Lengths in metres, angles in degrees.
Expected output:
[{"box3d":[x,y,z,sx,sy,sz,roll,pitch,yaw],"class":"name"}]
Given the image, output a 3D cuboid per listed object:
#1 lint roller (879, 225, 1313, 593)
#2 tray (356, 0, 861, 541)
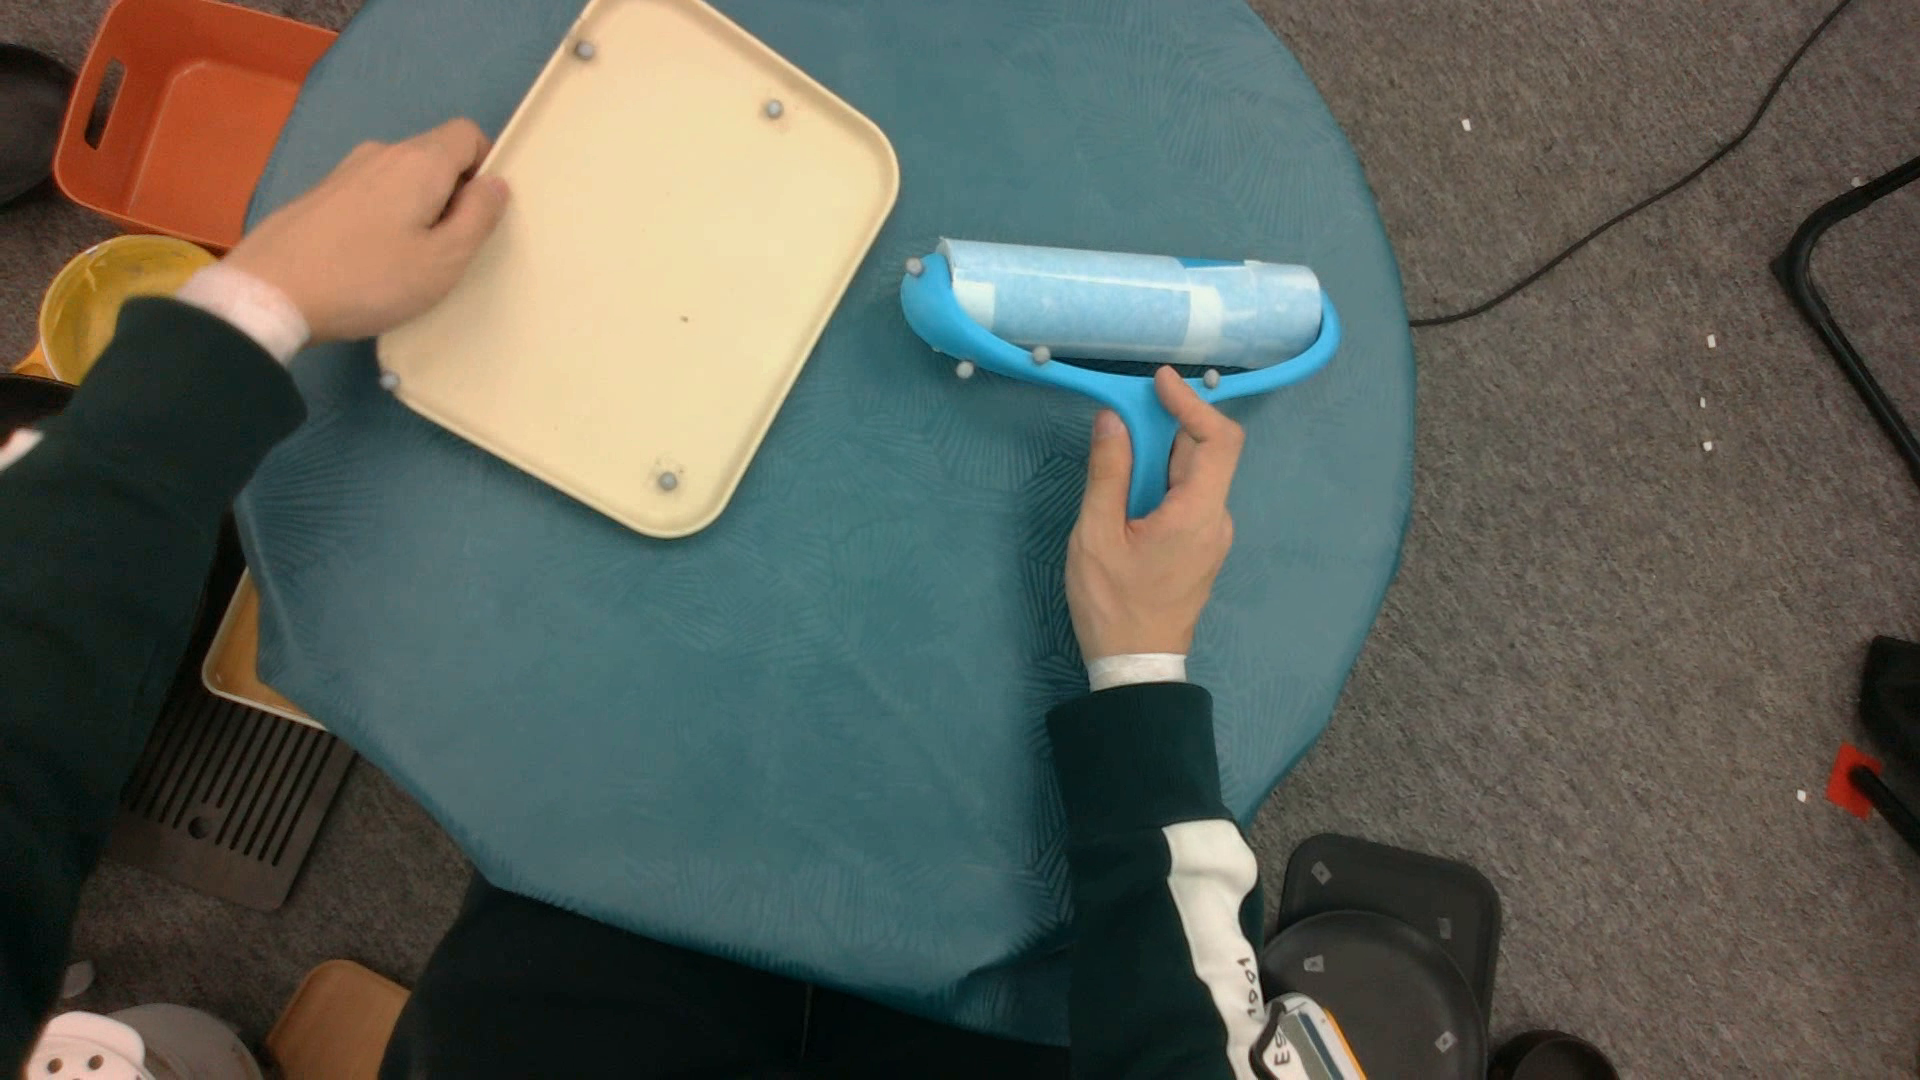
[{"box3d":[0.078,-0.067,0.677,0.229,0.067,0.180,-4,83,-22],"class":"lint roller"},{"box3d":[-0.158,-0.132,0.653,0.171,0.017,0.240,29,74,-20],"class":"tray"}]
